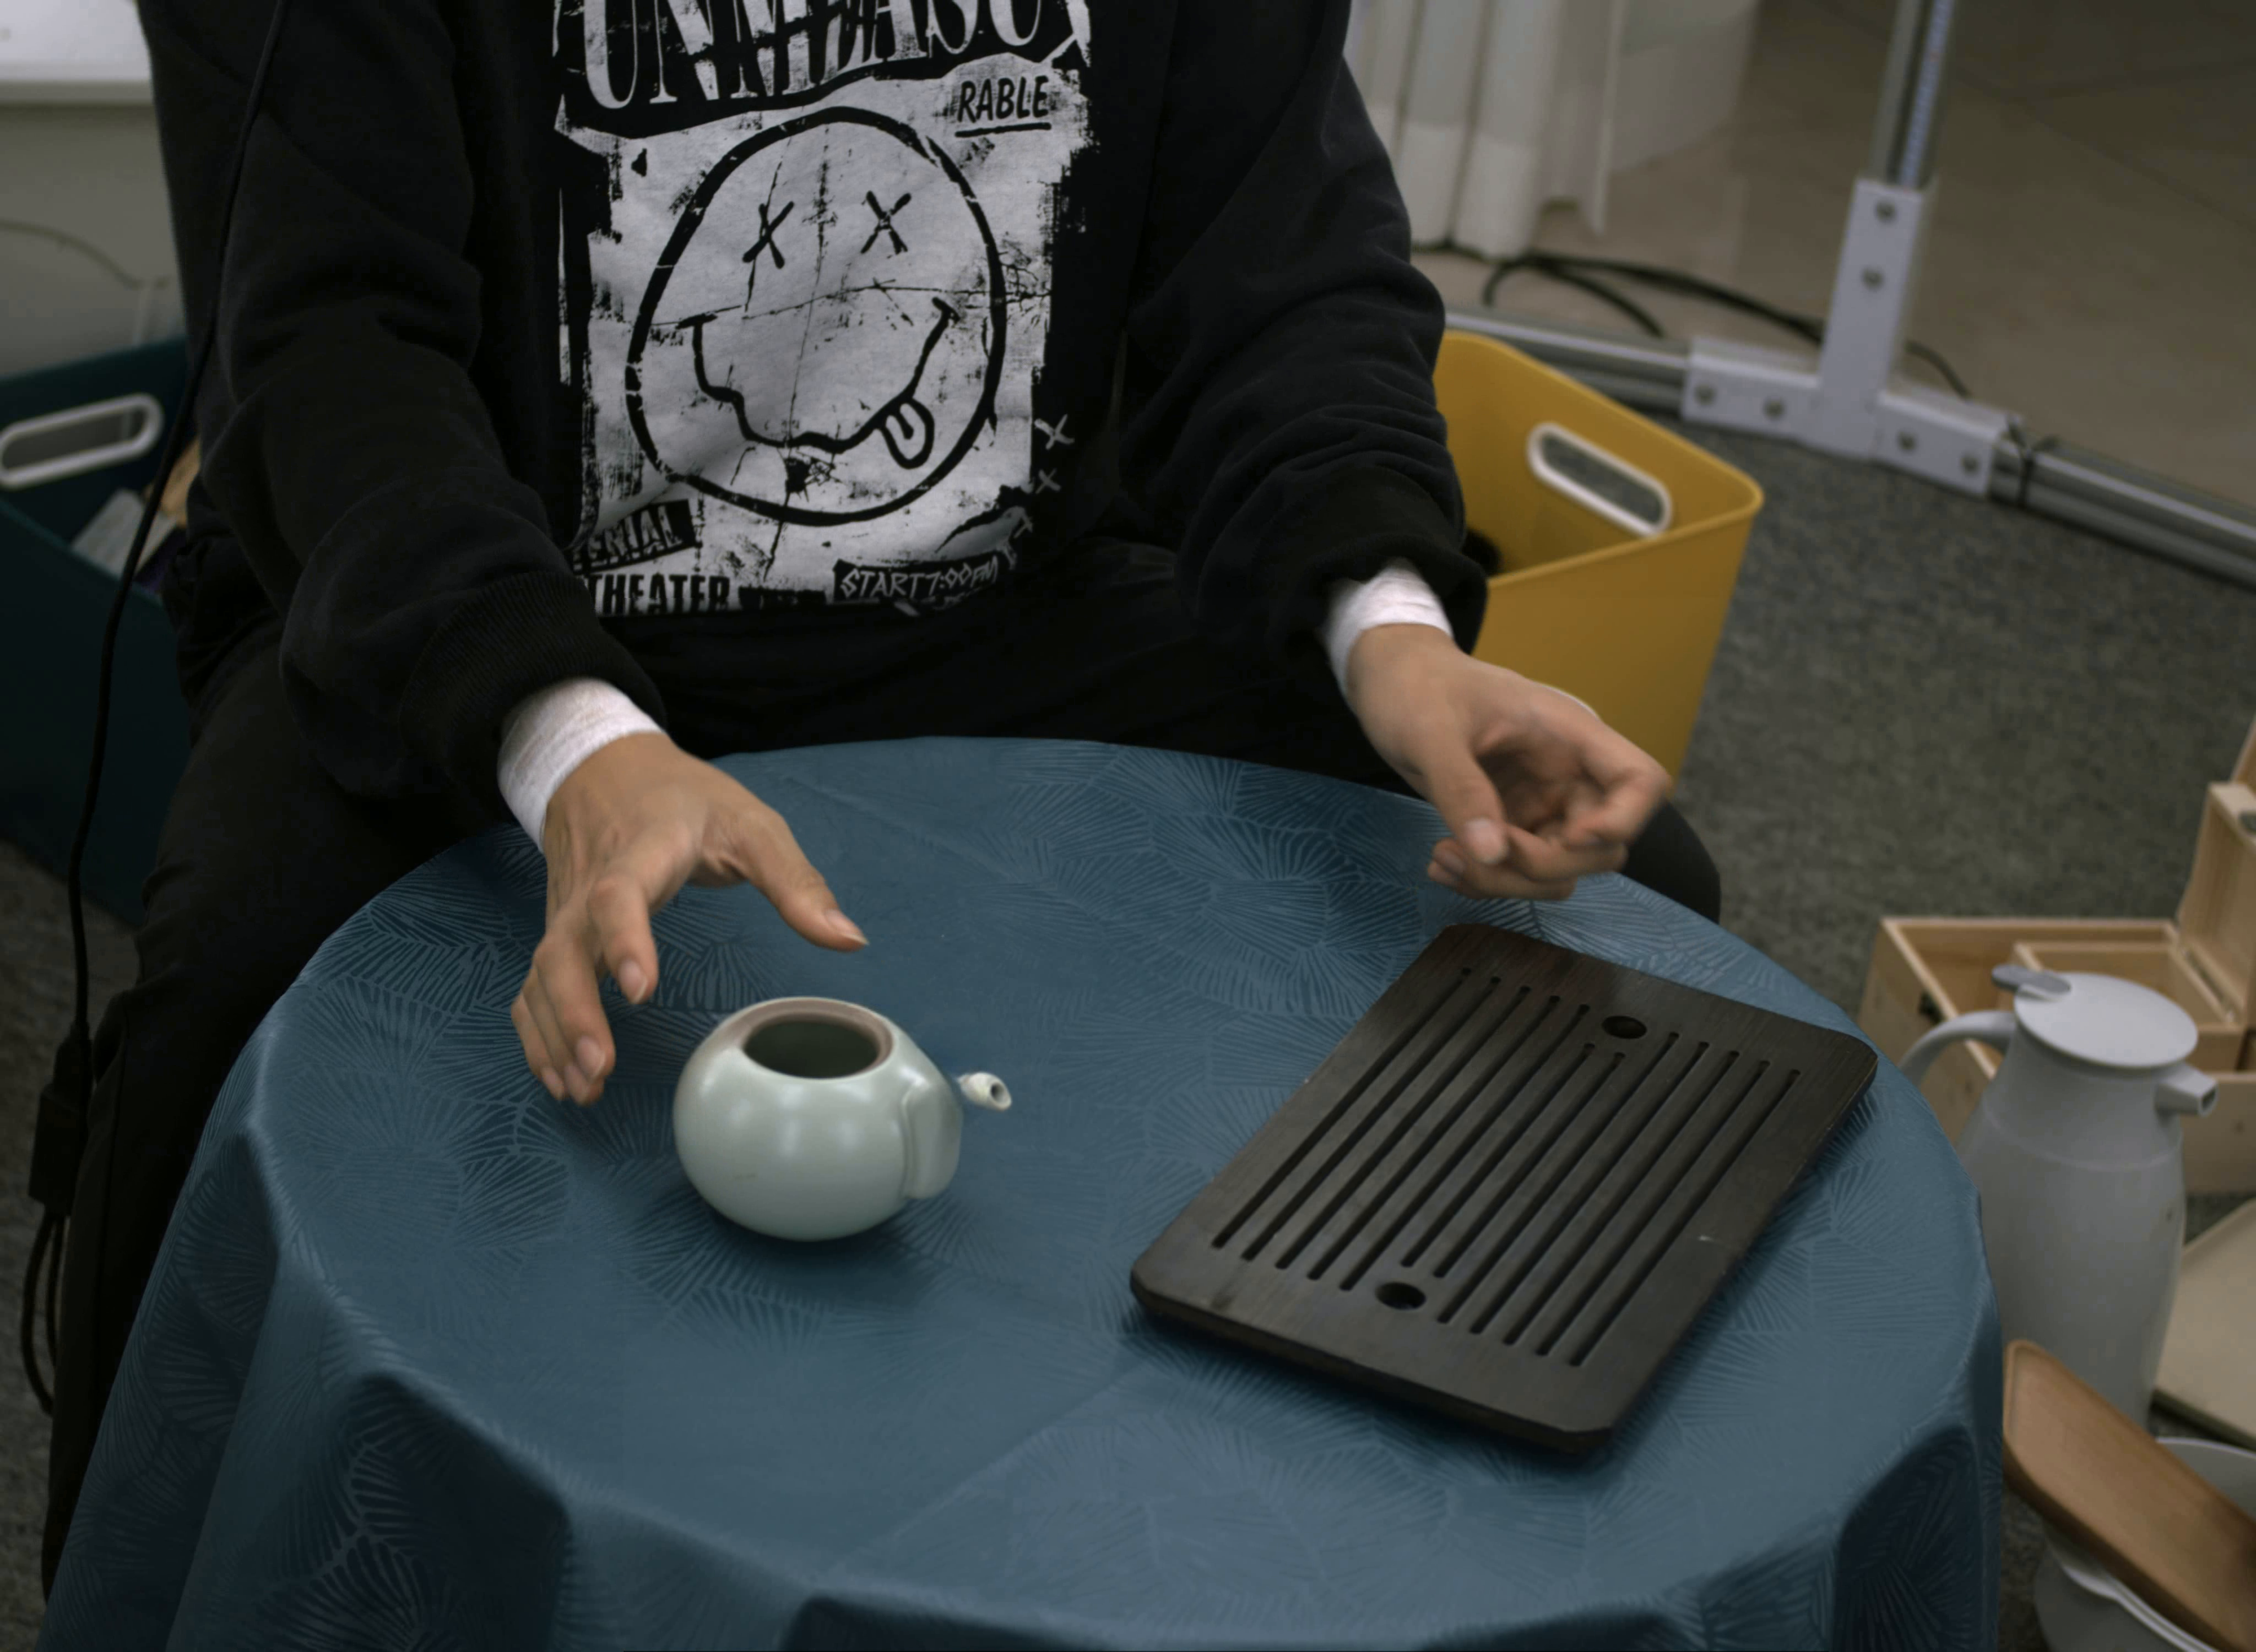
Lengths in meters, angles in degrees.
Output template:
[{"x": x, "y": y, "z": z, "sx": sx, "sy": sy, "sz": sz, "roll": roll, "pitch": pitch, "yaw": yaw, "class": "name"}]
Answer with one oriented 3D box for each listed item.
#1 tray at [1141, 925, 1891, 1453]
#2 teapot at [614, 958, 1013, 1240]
[{"x": 0.138, "y": 0.121, "z": 1.822, "sx": 0.170, "sy": 0.018, "sz": 0.306, "roll": 17, "pitch": 28, "yaw": 20, "class": "tray"}, {"x": -0.106, "y": 0.095, "z": 1.758, "sx": 0.144, "sy": 0.074, "sz": 0.088, "roll": 19, "pitch": 29, "yaw": 21, "class": "teapot"}]
